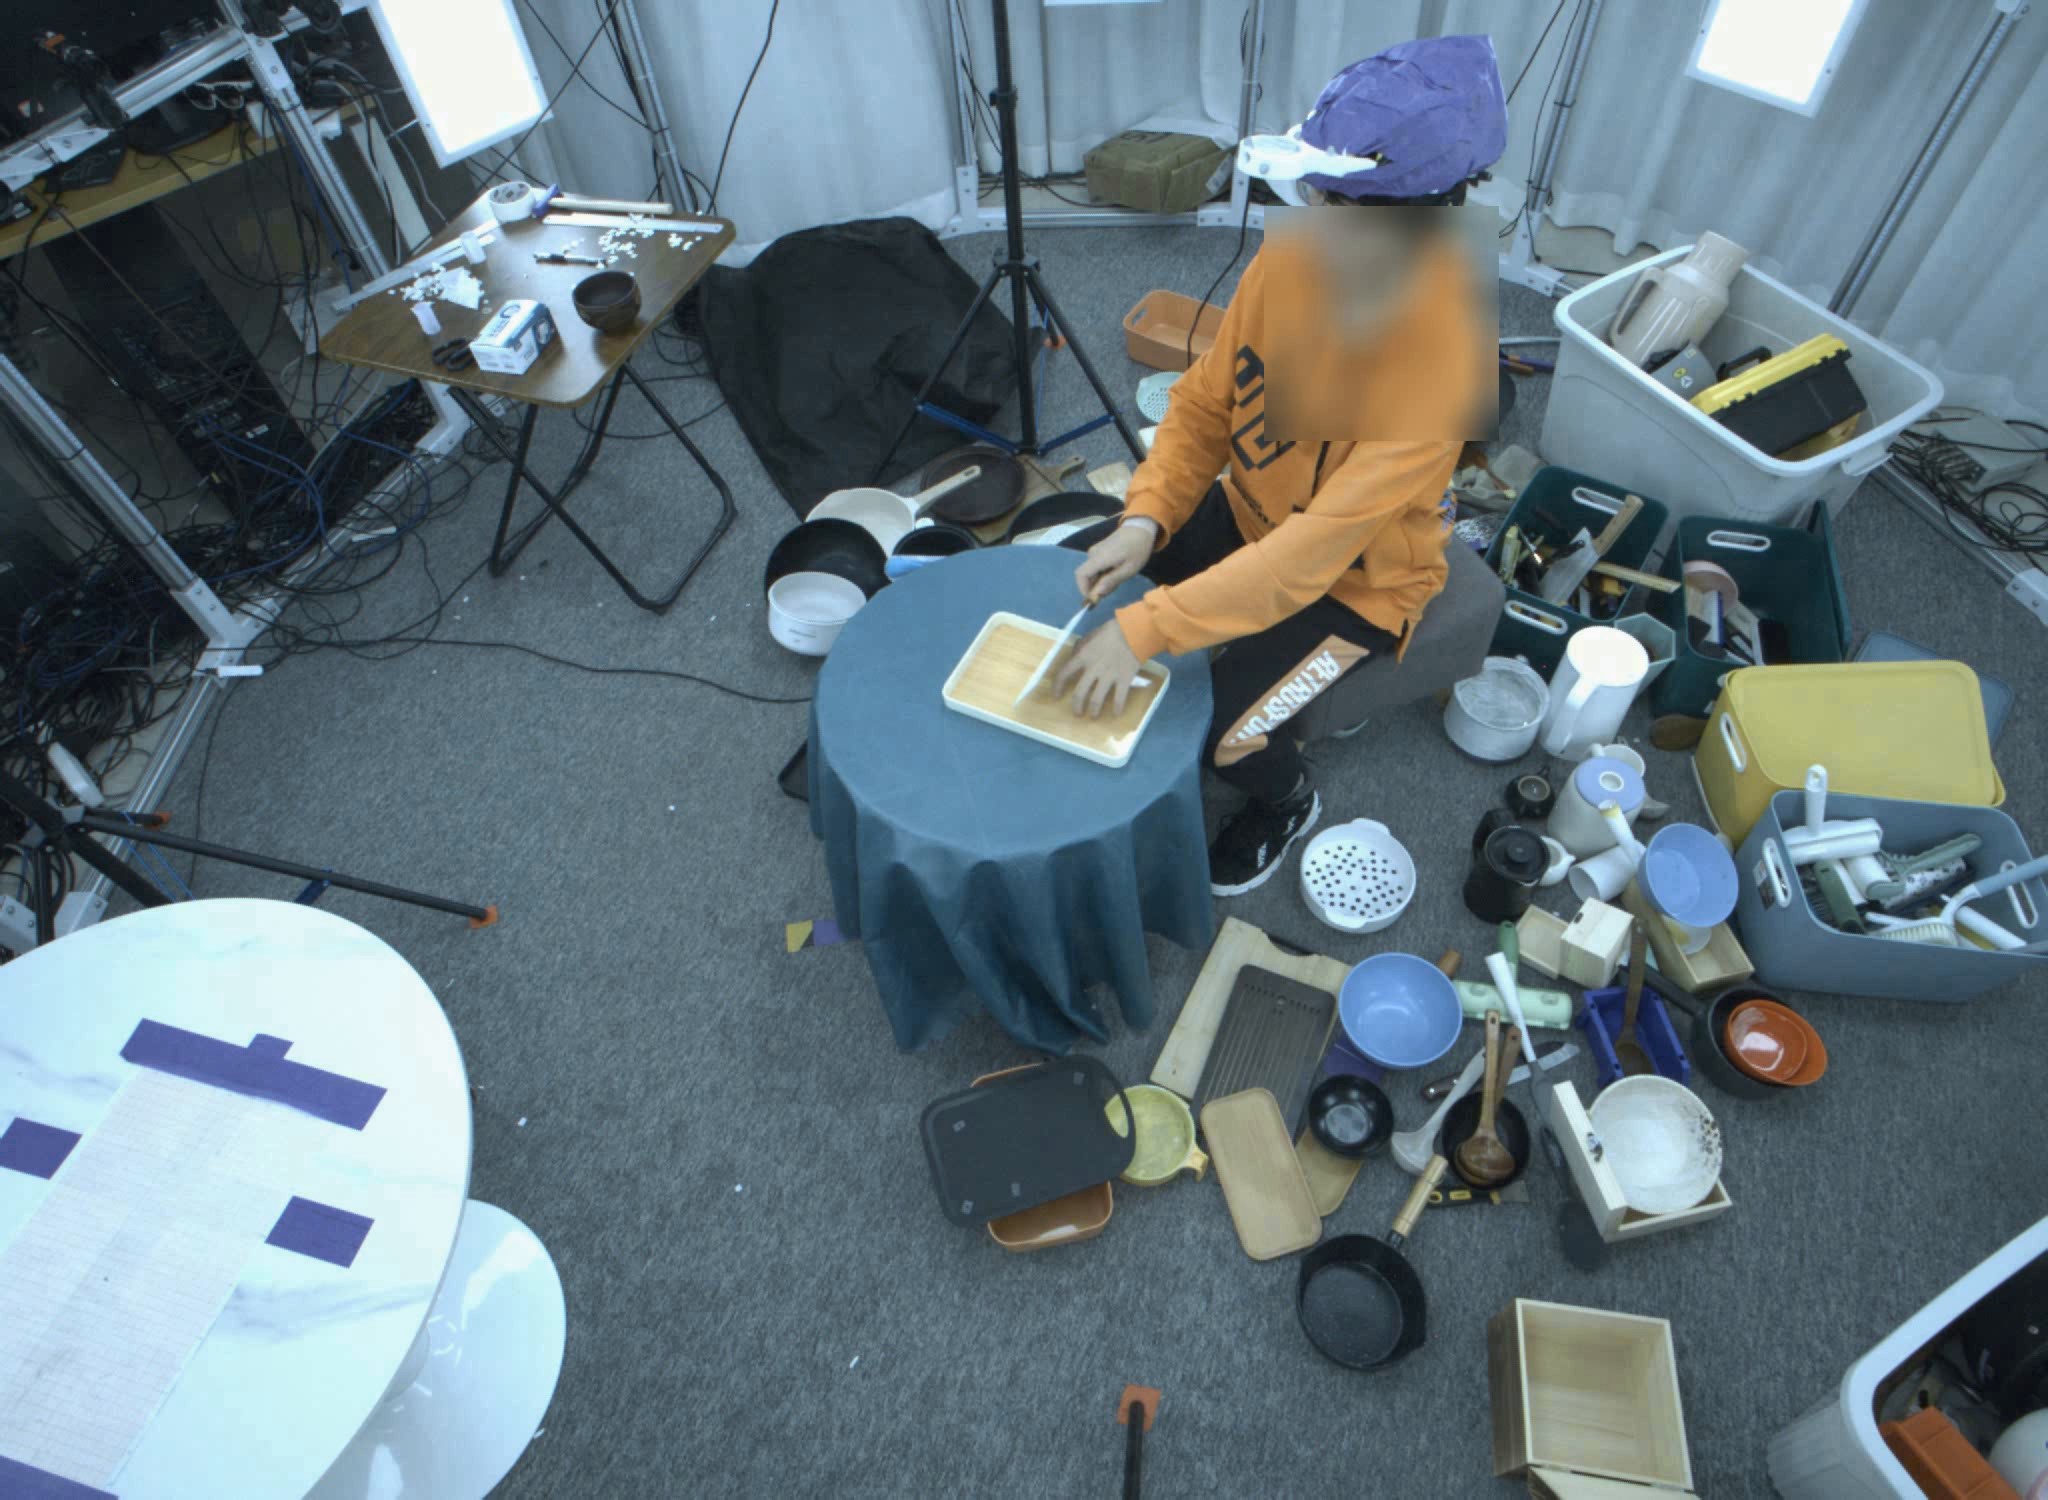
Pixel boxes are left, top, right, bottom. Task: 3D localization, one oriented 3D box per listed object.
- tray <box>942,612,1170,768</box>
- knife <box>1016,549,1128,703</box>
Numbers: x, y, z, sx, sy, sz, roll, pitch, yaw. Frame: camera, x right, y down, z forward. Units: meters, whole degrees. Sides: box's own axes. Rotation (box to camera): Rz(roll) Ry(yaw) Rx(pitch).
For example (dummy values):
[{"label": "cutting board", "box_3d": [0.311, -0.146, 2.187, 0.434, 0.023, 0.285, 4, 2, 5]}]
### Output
[{"label": "tray", "box_3d": [0.048, -0.094, 1.835, 0.296, 0.028, 0.192, 21, 58, 16]}, {"label": "knife", "box_3d": [0.069, -0.183, 1.831, 0.021, 0.092, 0.306, 38, 58, -7]}]
